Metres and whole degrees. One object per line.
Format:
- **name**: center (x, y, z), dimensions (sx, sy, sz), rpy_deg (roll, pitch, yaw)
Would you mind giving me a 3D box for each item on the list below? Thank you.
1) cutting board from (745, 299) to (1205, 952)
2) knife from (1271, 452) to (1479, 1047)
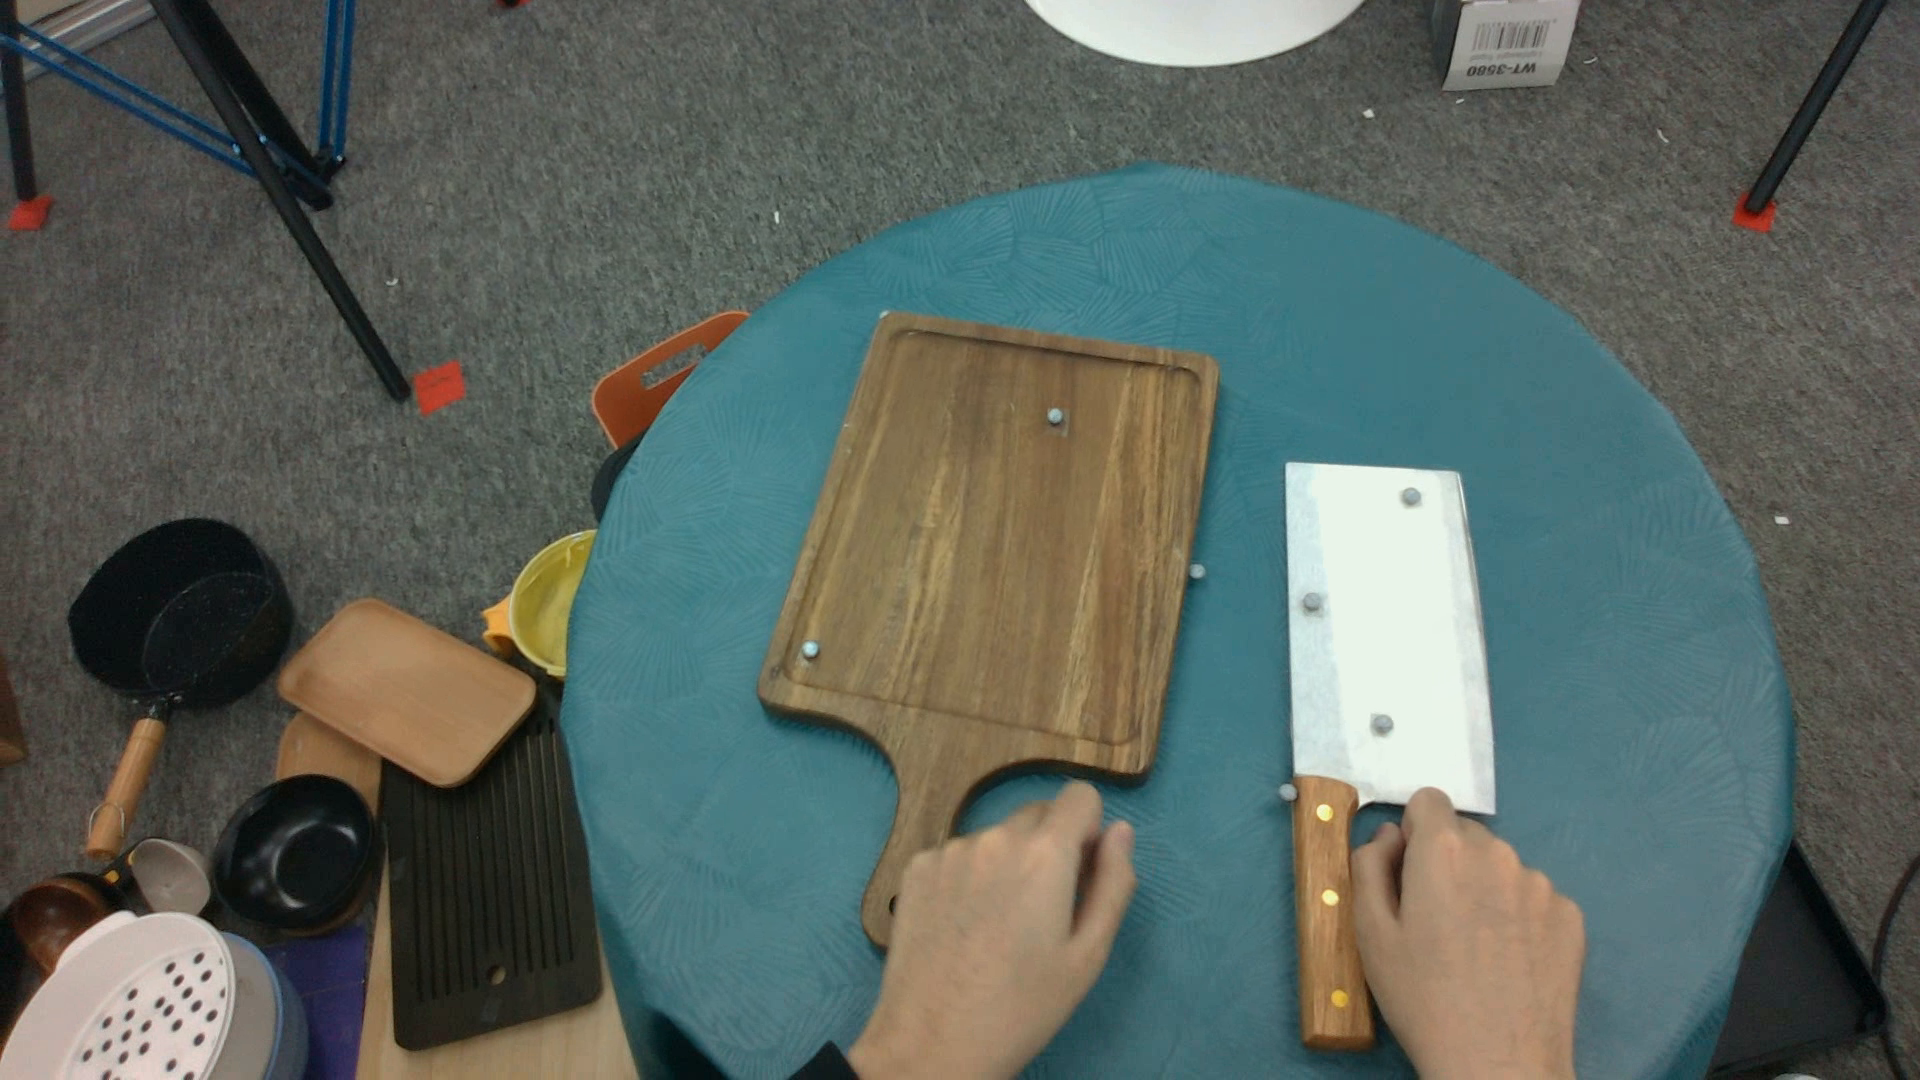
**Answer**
- **cutting board**: center (0.005, 0.028, 0.690), dimensions (0.201, 0.023, 0.353), rpy_deg (9, 61, 9)
- **knife**: center (0.194, 0.082, 0.649), dimensions (0.093, 0.021, 0.307), rpy_deg (4, 58, 5)
